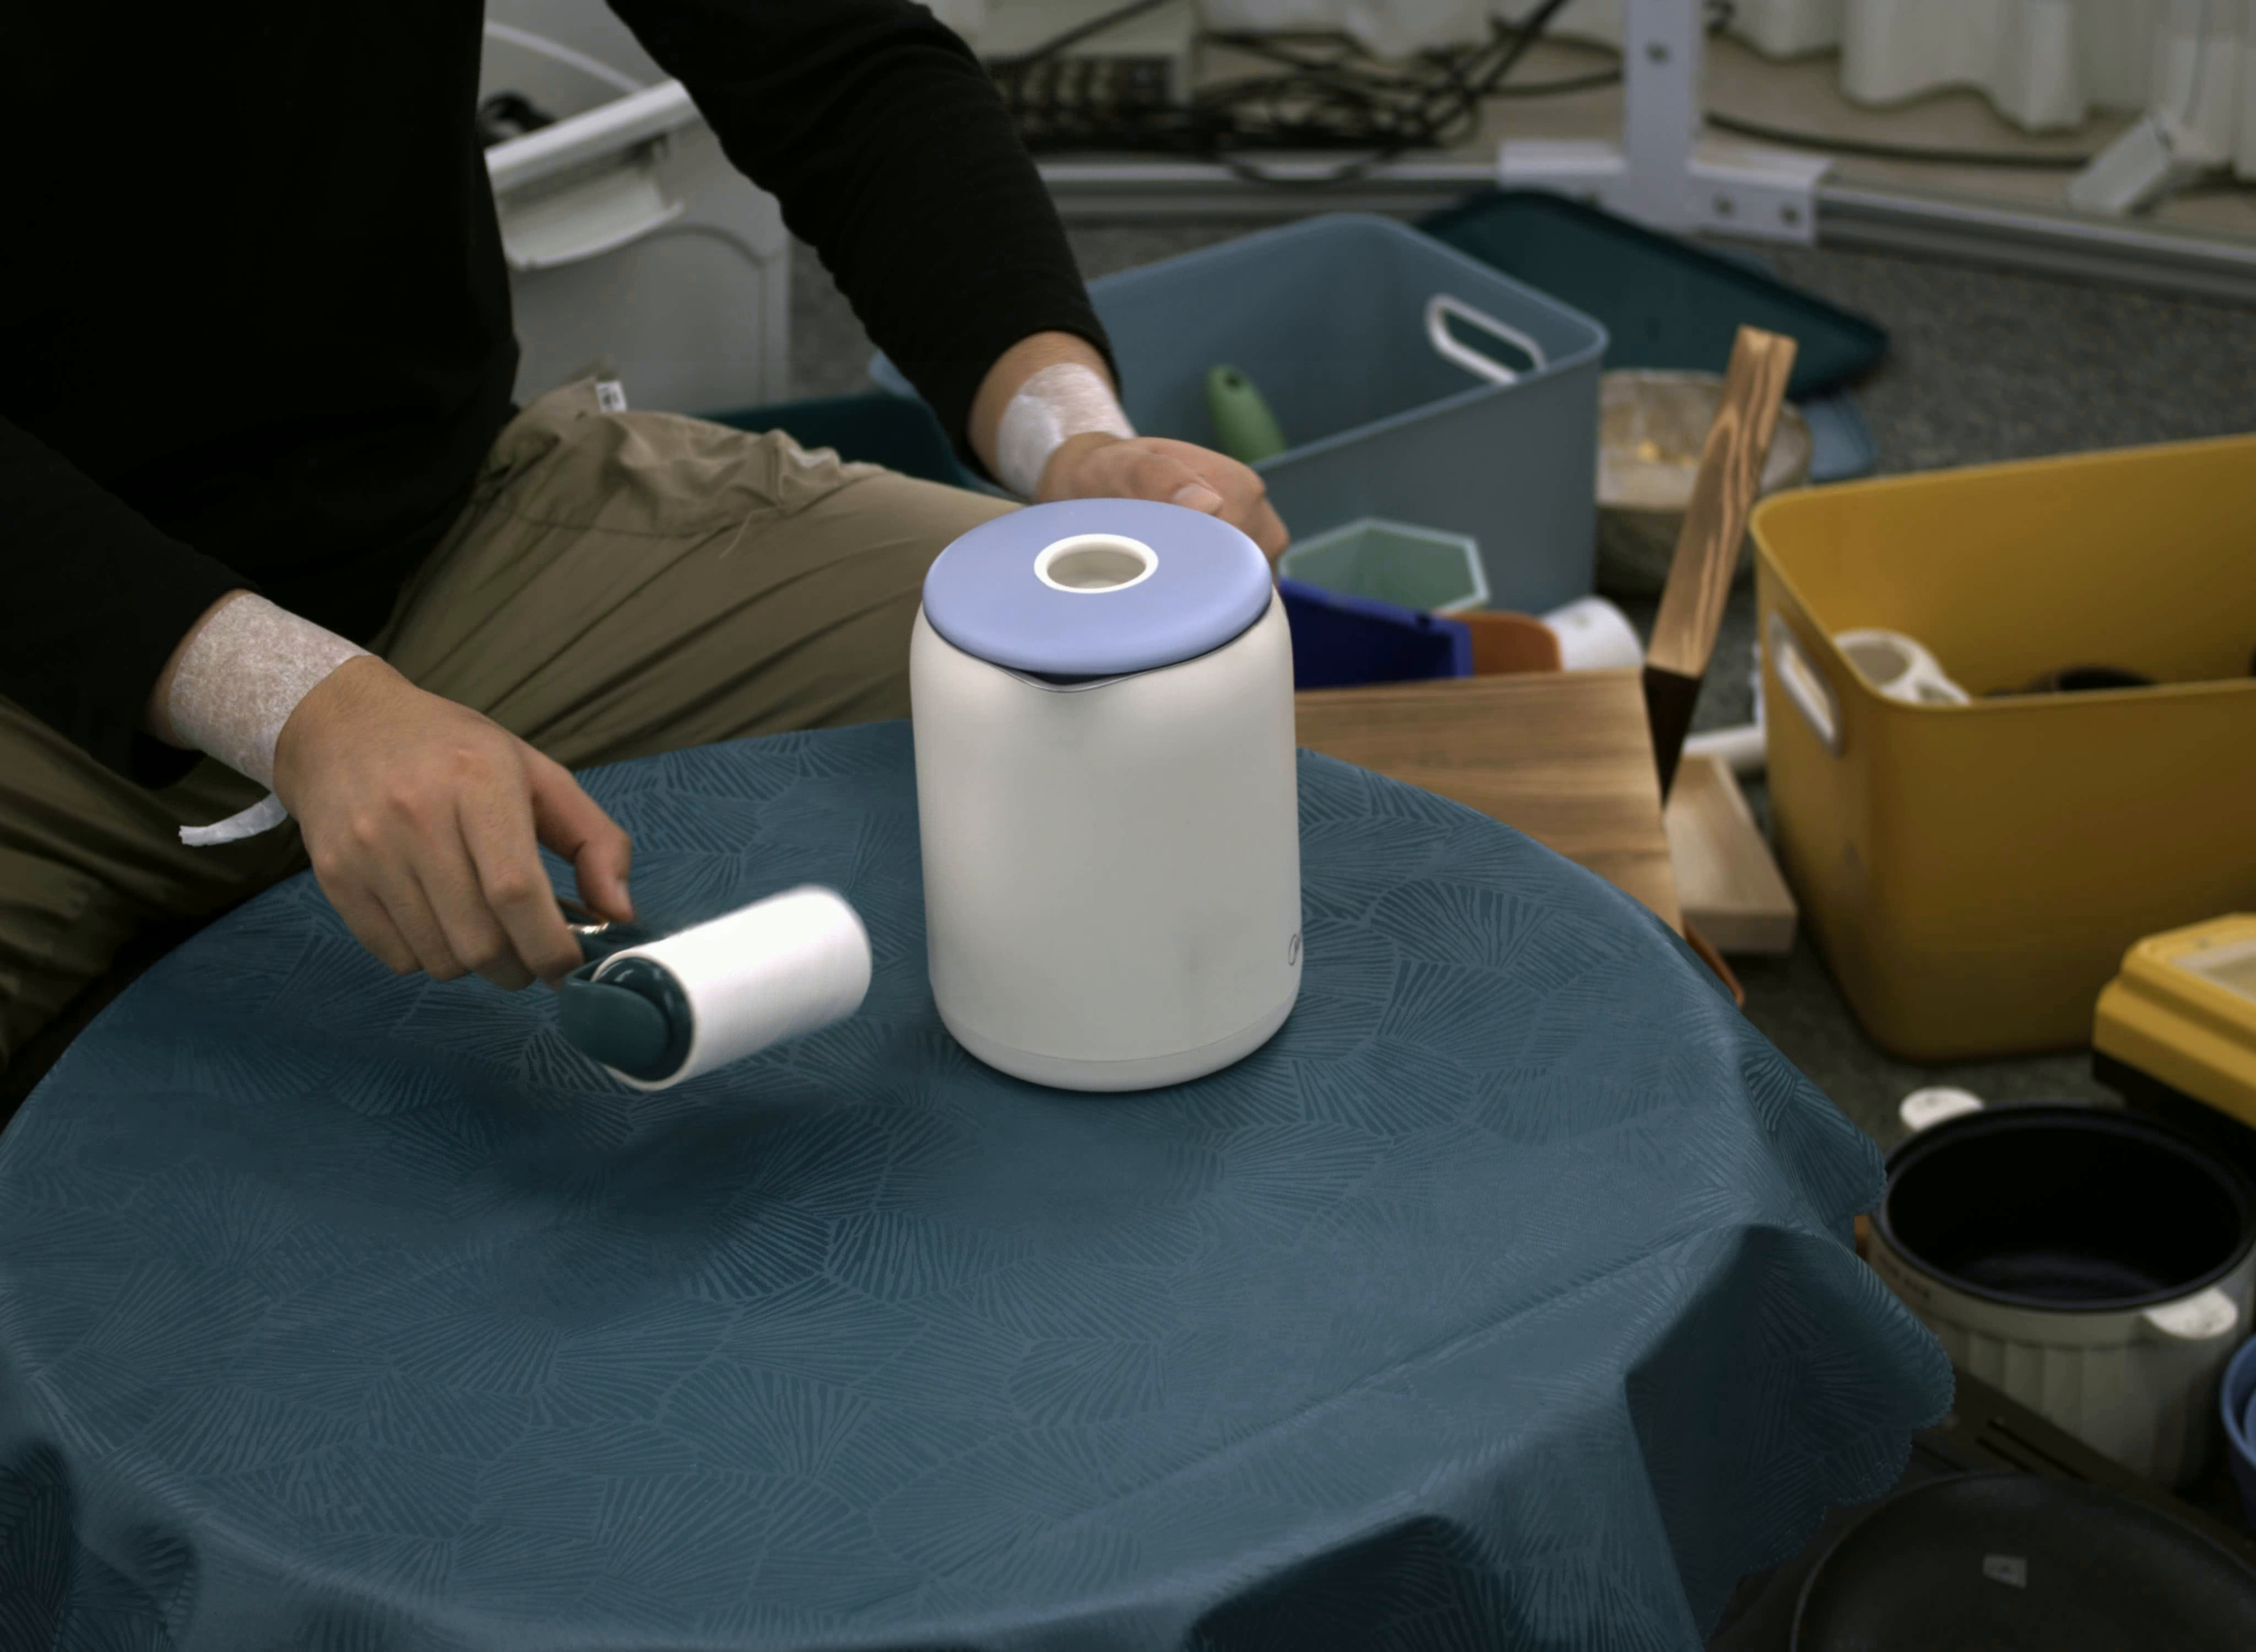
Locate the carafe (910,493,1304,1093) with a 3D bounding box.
[{"bbox_3d":[-0.002,-0.024,1.951,0.131,0.180,0.194,3,27,9],"label":"carafe"}]

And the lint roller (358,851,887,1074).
[{"bbox_3d":[-0.187,0.033,1.898,0.179,0.048,0.136,12,23,29],"label":"lint roller"}]
